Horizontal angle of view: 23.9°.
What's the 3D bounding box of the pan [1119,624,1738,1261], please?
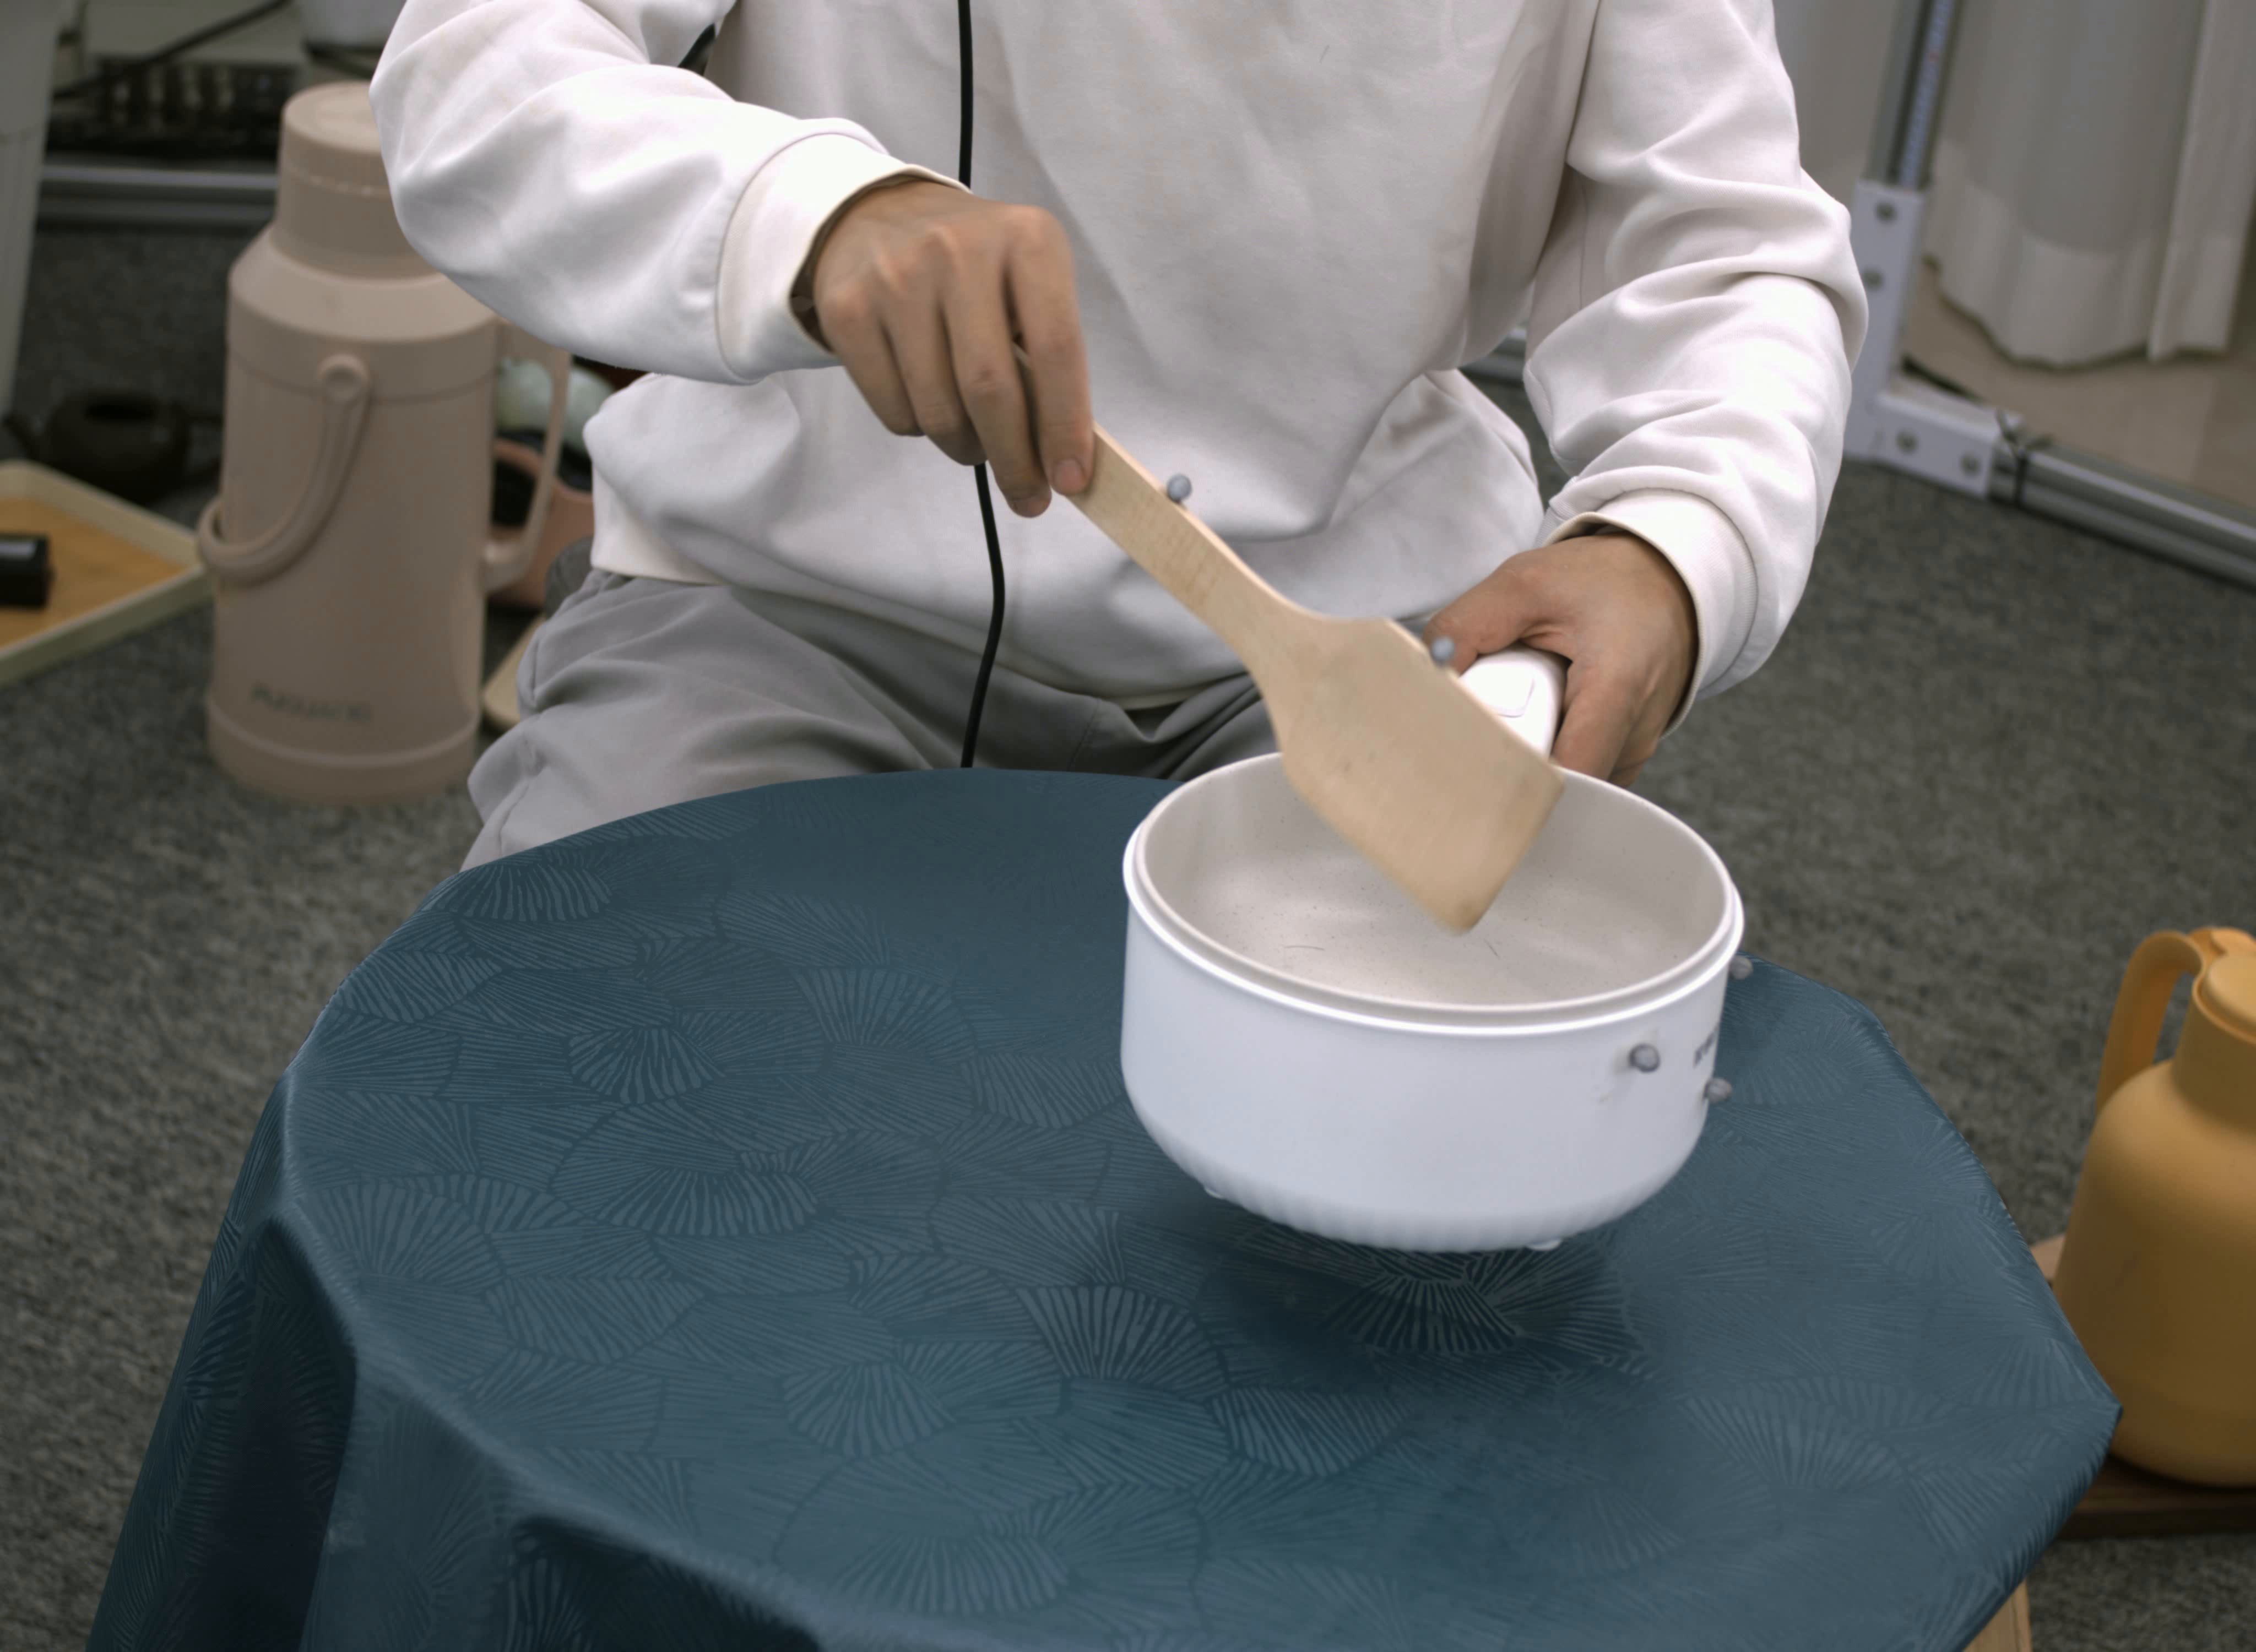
[{"bbox_3d":[0.112,0.036,1.812,0.201,0.102,0.355,5,23,11],"label":"pan"}]
